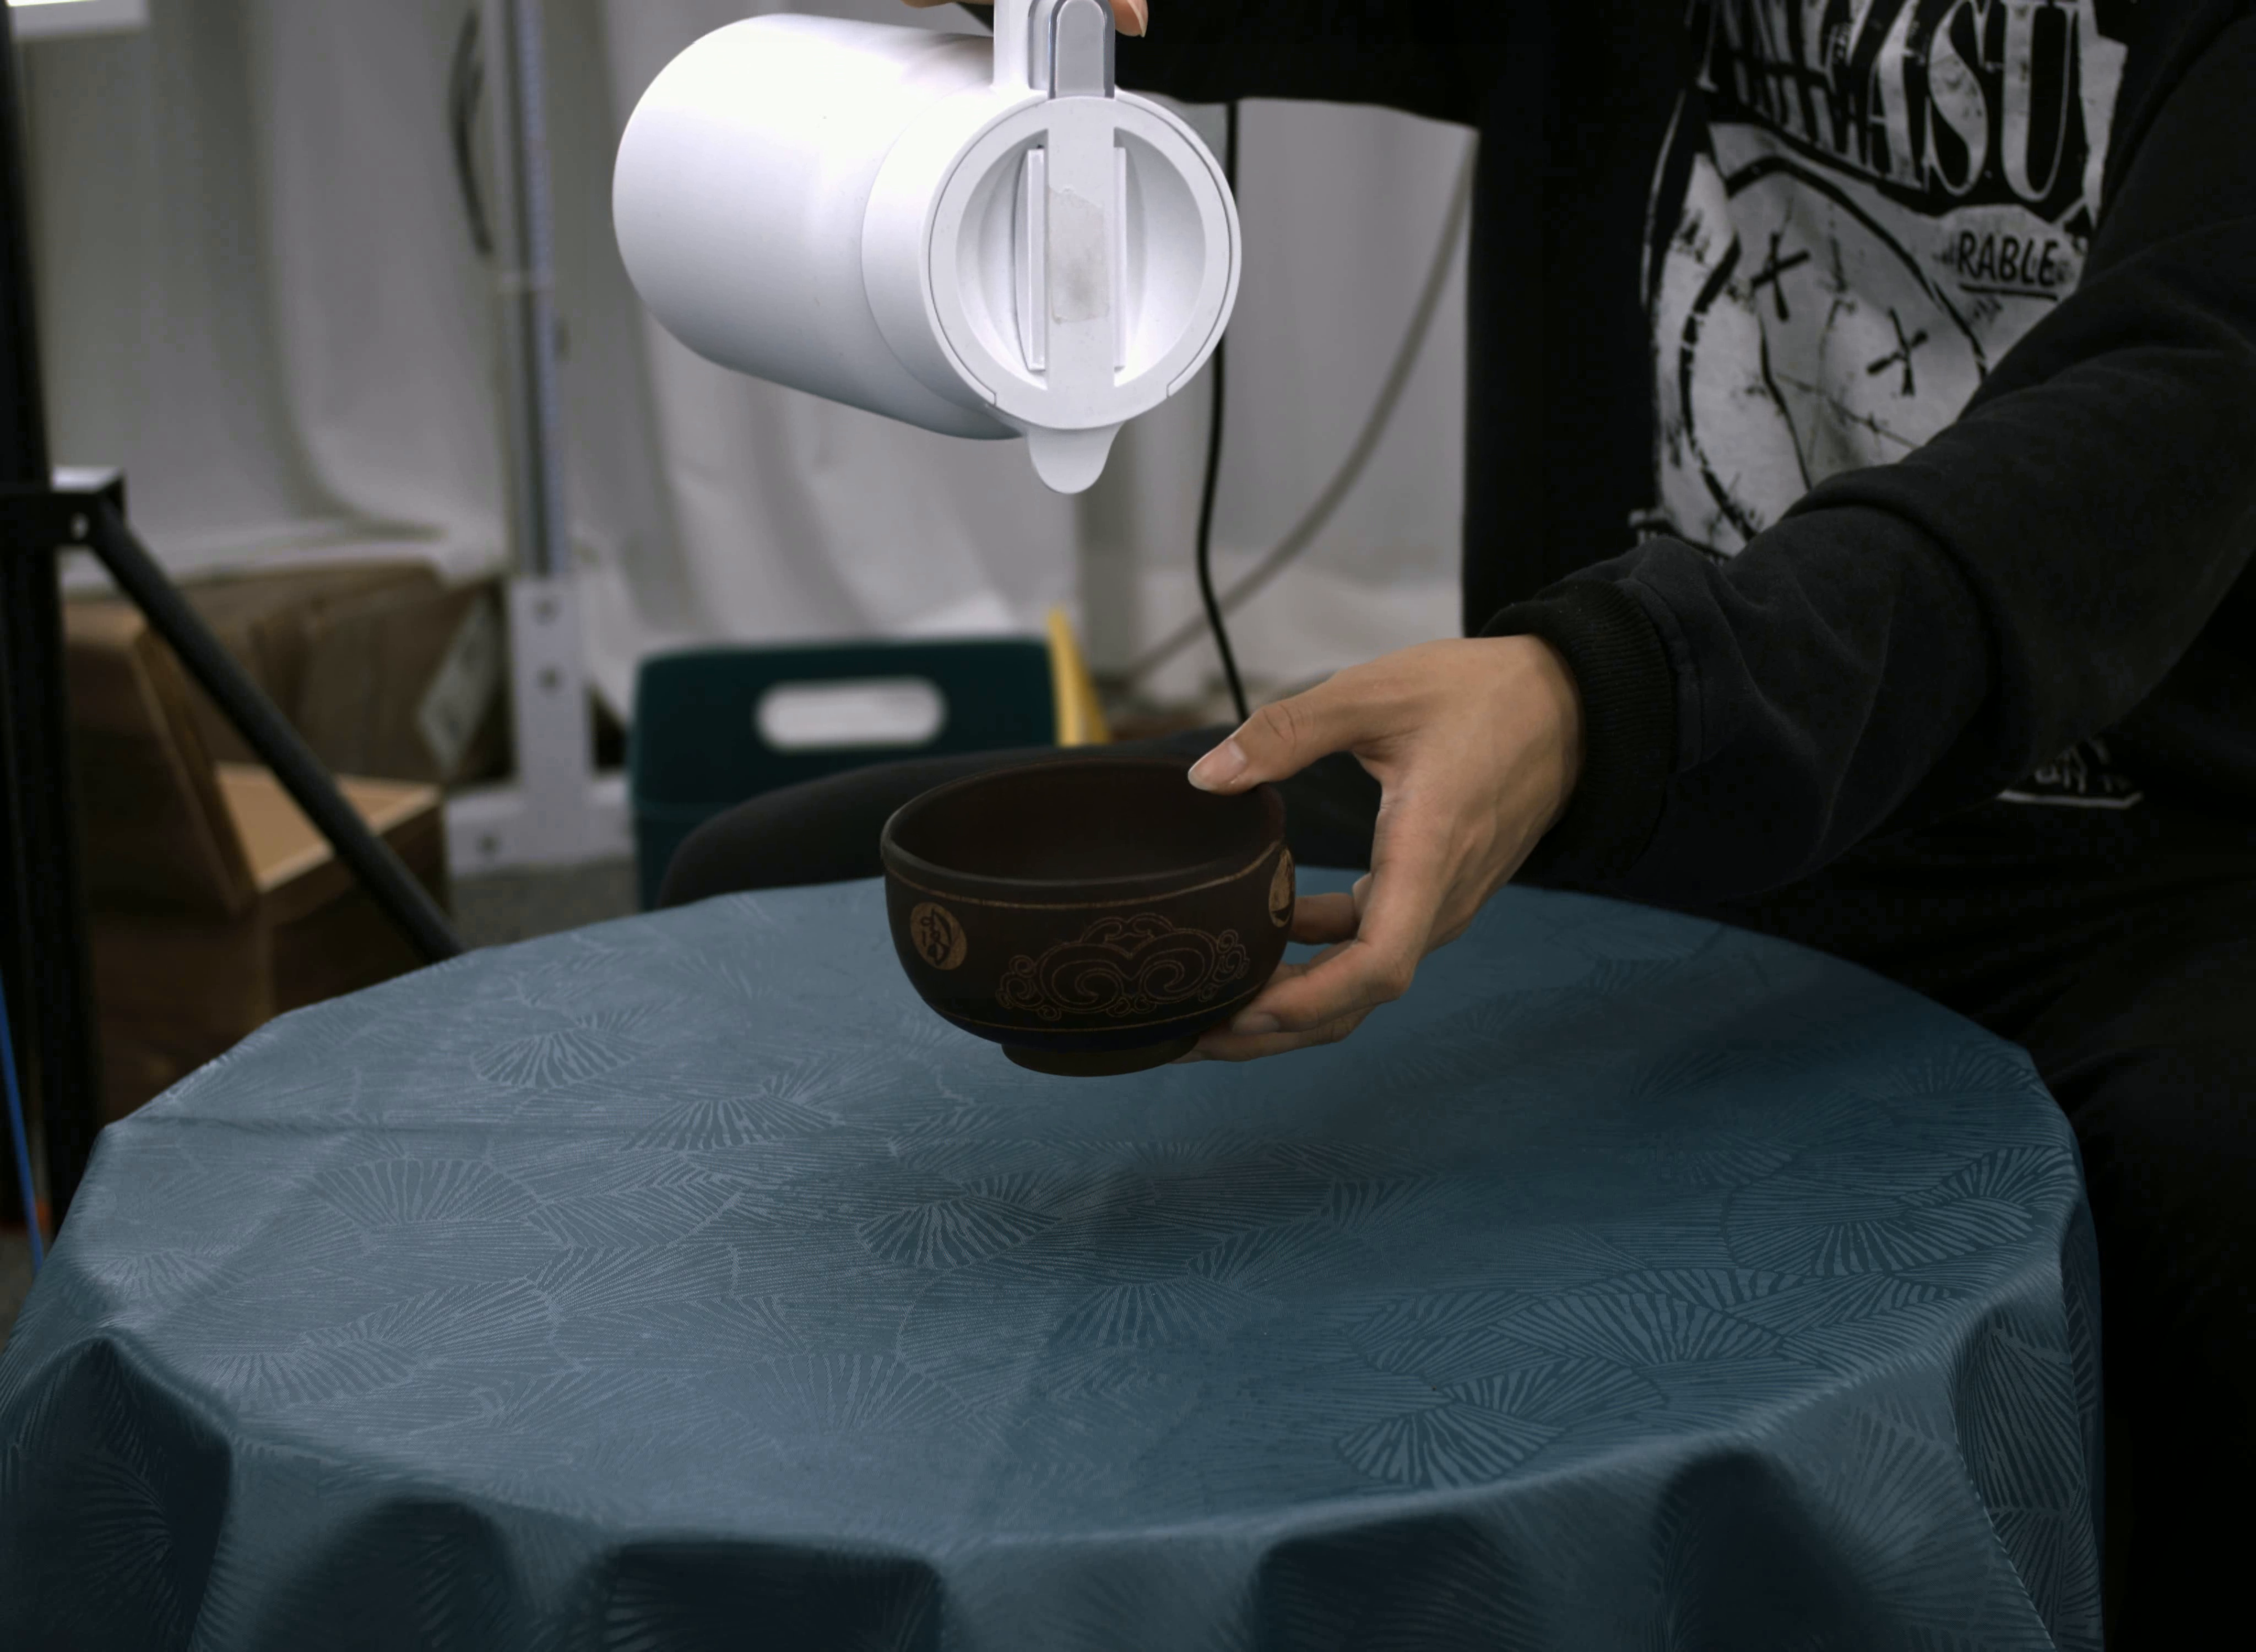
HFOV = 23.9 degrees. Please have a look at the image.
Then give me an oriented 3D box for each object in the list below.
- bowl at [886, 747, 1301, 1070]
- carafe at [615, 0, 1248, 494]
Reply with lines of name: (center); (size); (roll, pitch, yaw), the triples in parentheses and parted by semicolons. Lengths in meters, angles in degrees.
bowl: (-0.009, 0.027, 1.511); (0.117, 0.070, 0.119); (-4, 17, 0)
carafe: (-0.063, -0.199, 1.607); (0.121, 0.173, 0.273); (-5, 11, -20)
